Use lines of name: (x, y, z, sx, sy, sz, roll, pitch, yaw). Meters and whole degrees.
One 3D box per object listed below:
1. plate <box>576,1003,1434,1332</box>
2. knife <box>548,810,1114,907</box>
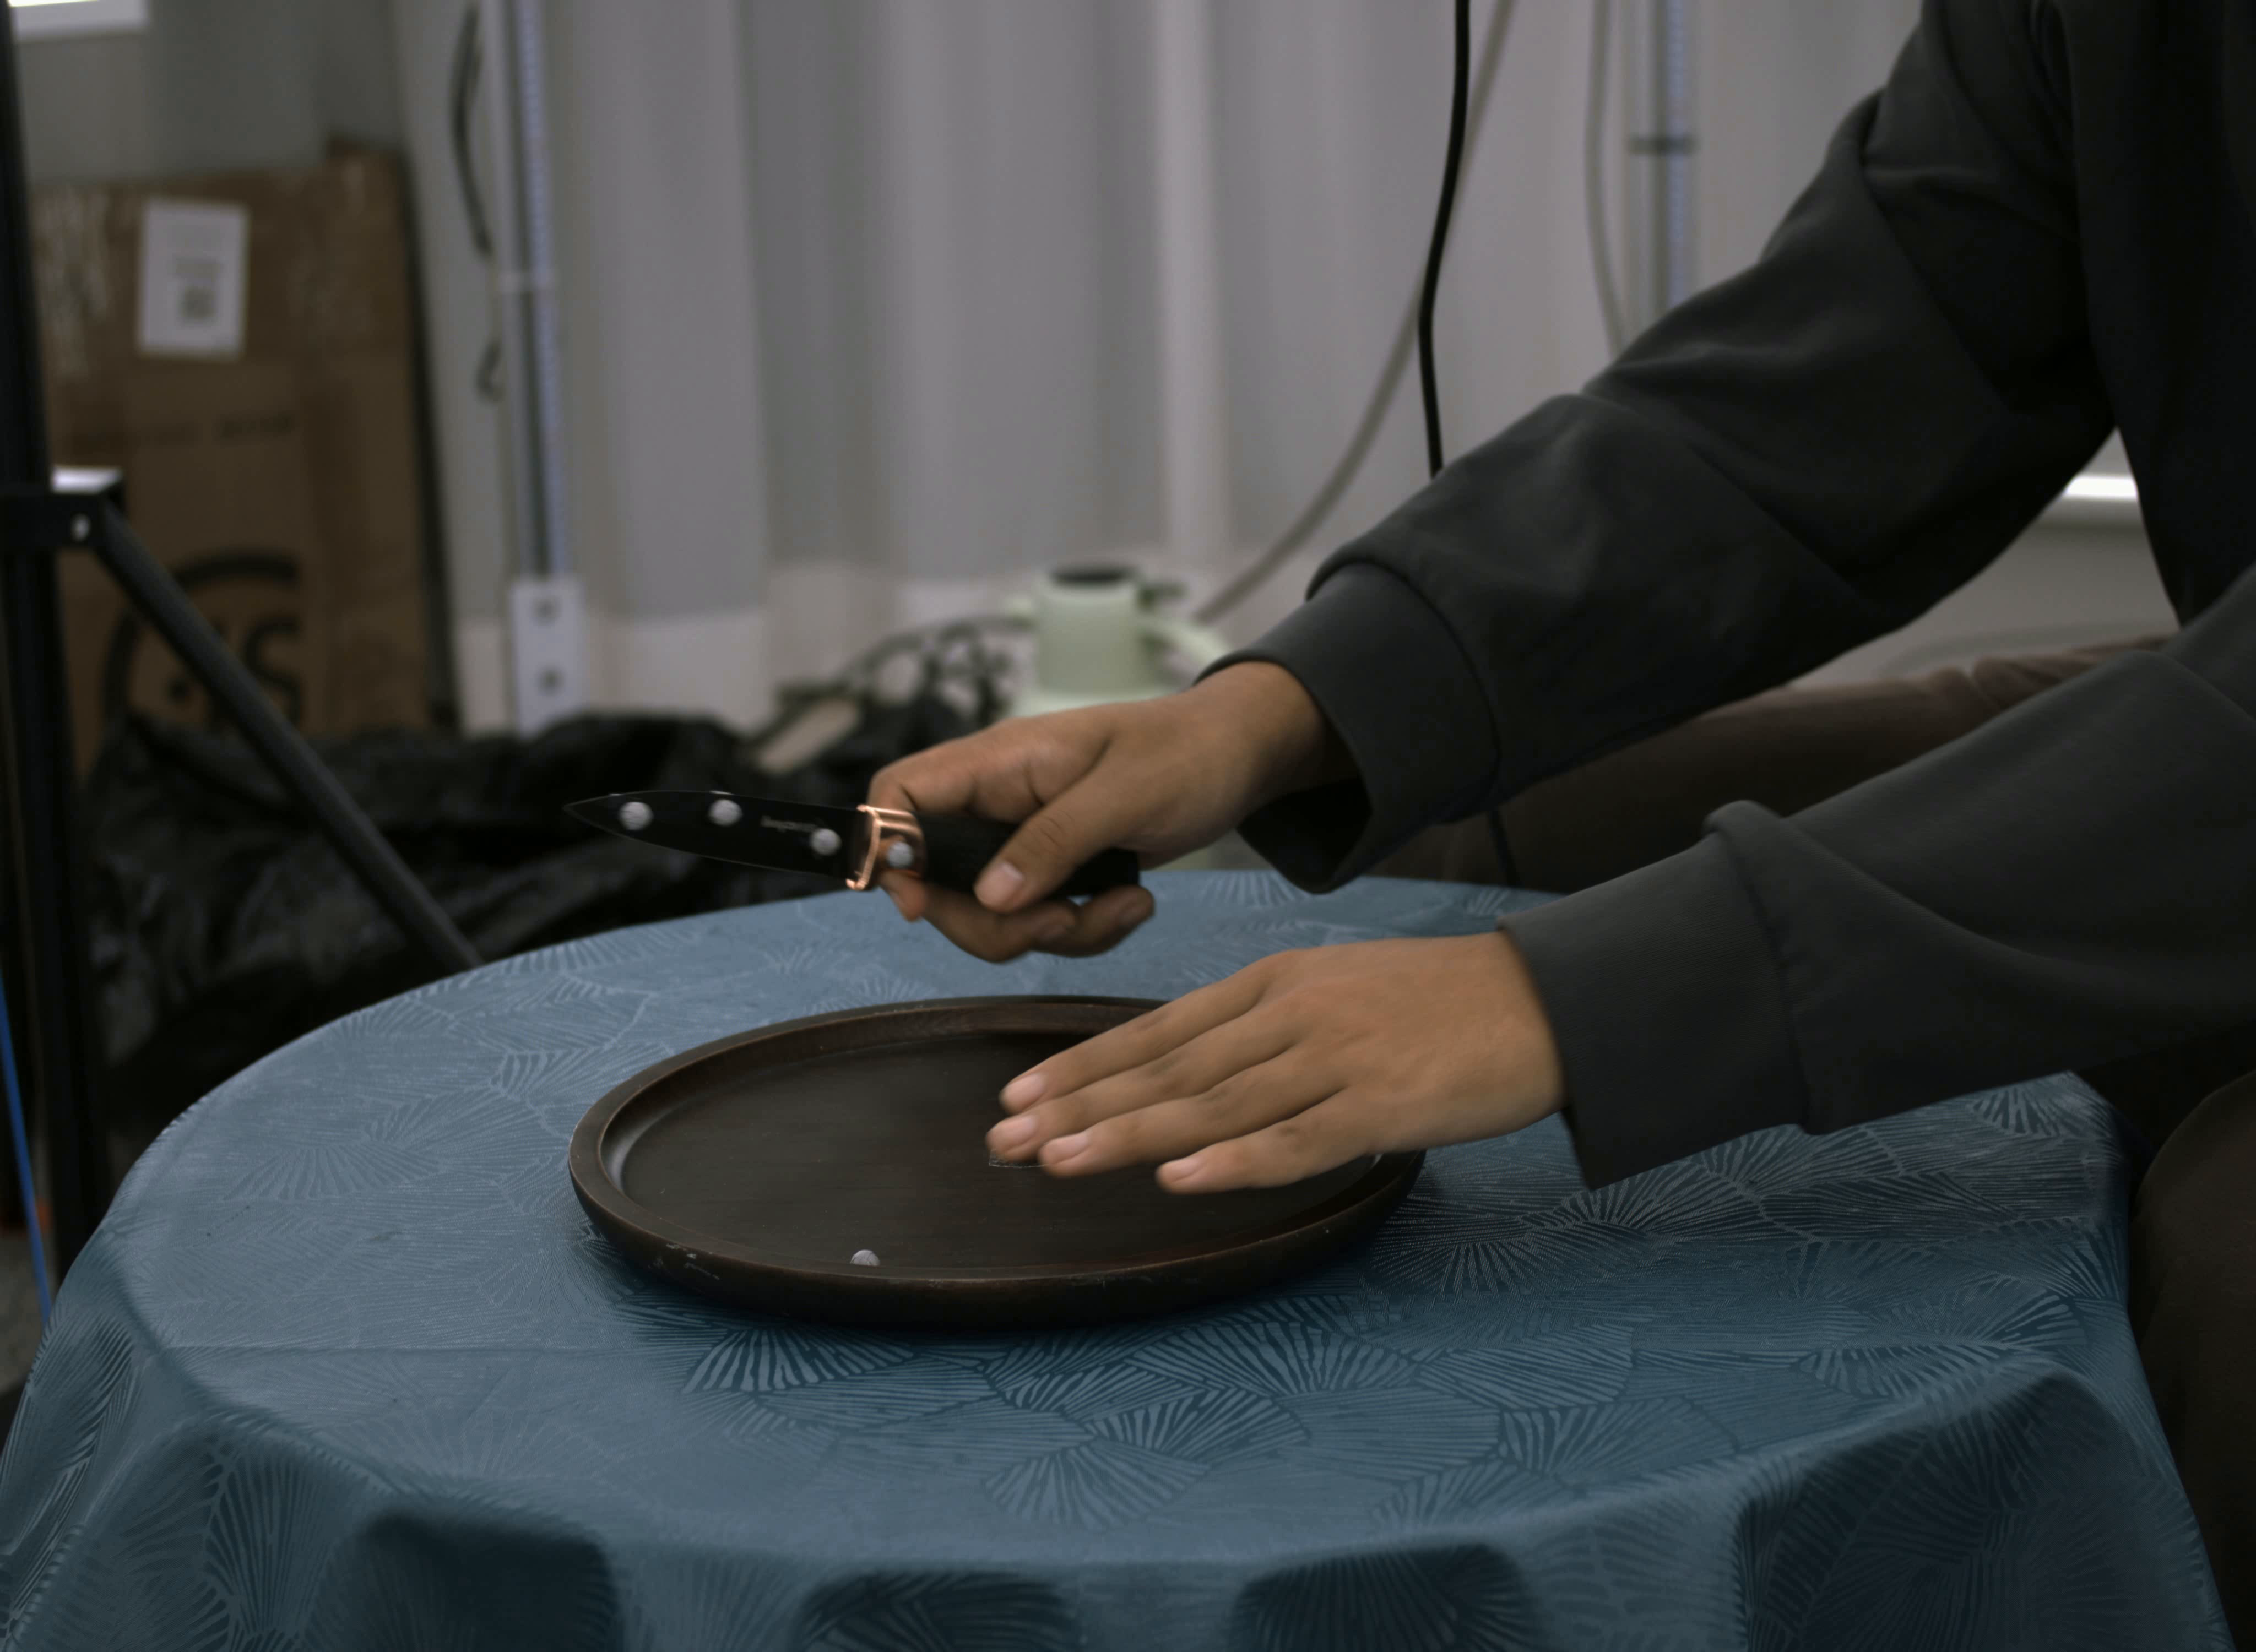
plate: (-0.036, 0.097, 1.557, 0.253, 0.029, 0.256, -2, 15, -1)
knife: (-0.087, 0.008, 1.622, 0.219, 0.026, 0.017, 7, 6, -43)
